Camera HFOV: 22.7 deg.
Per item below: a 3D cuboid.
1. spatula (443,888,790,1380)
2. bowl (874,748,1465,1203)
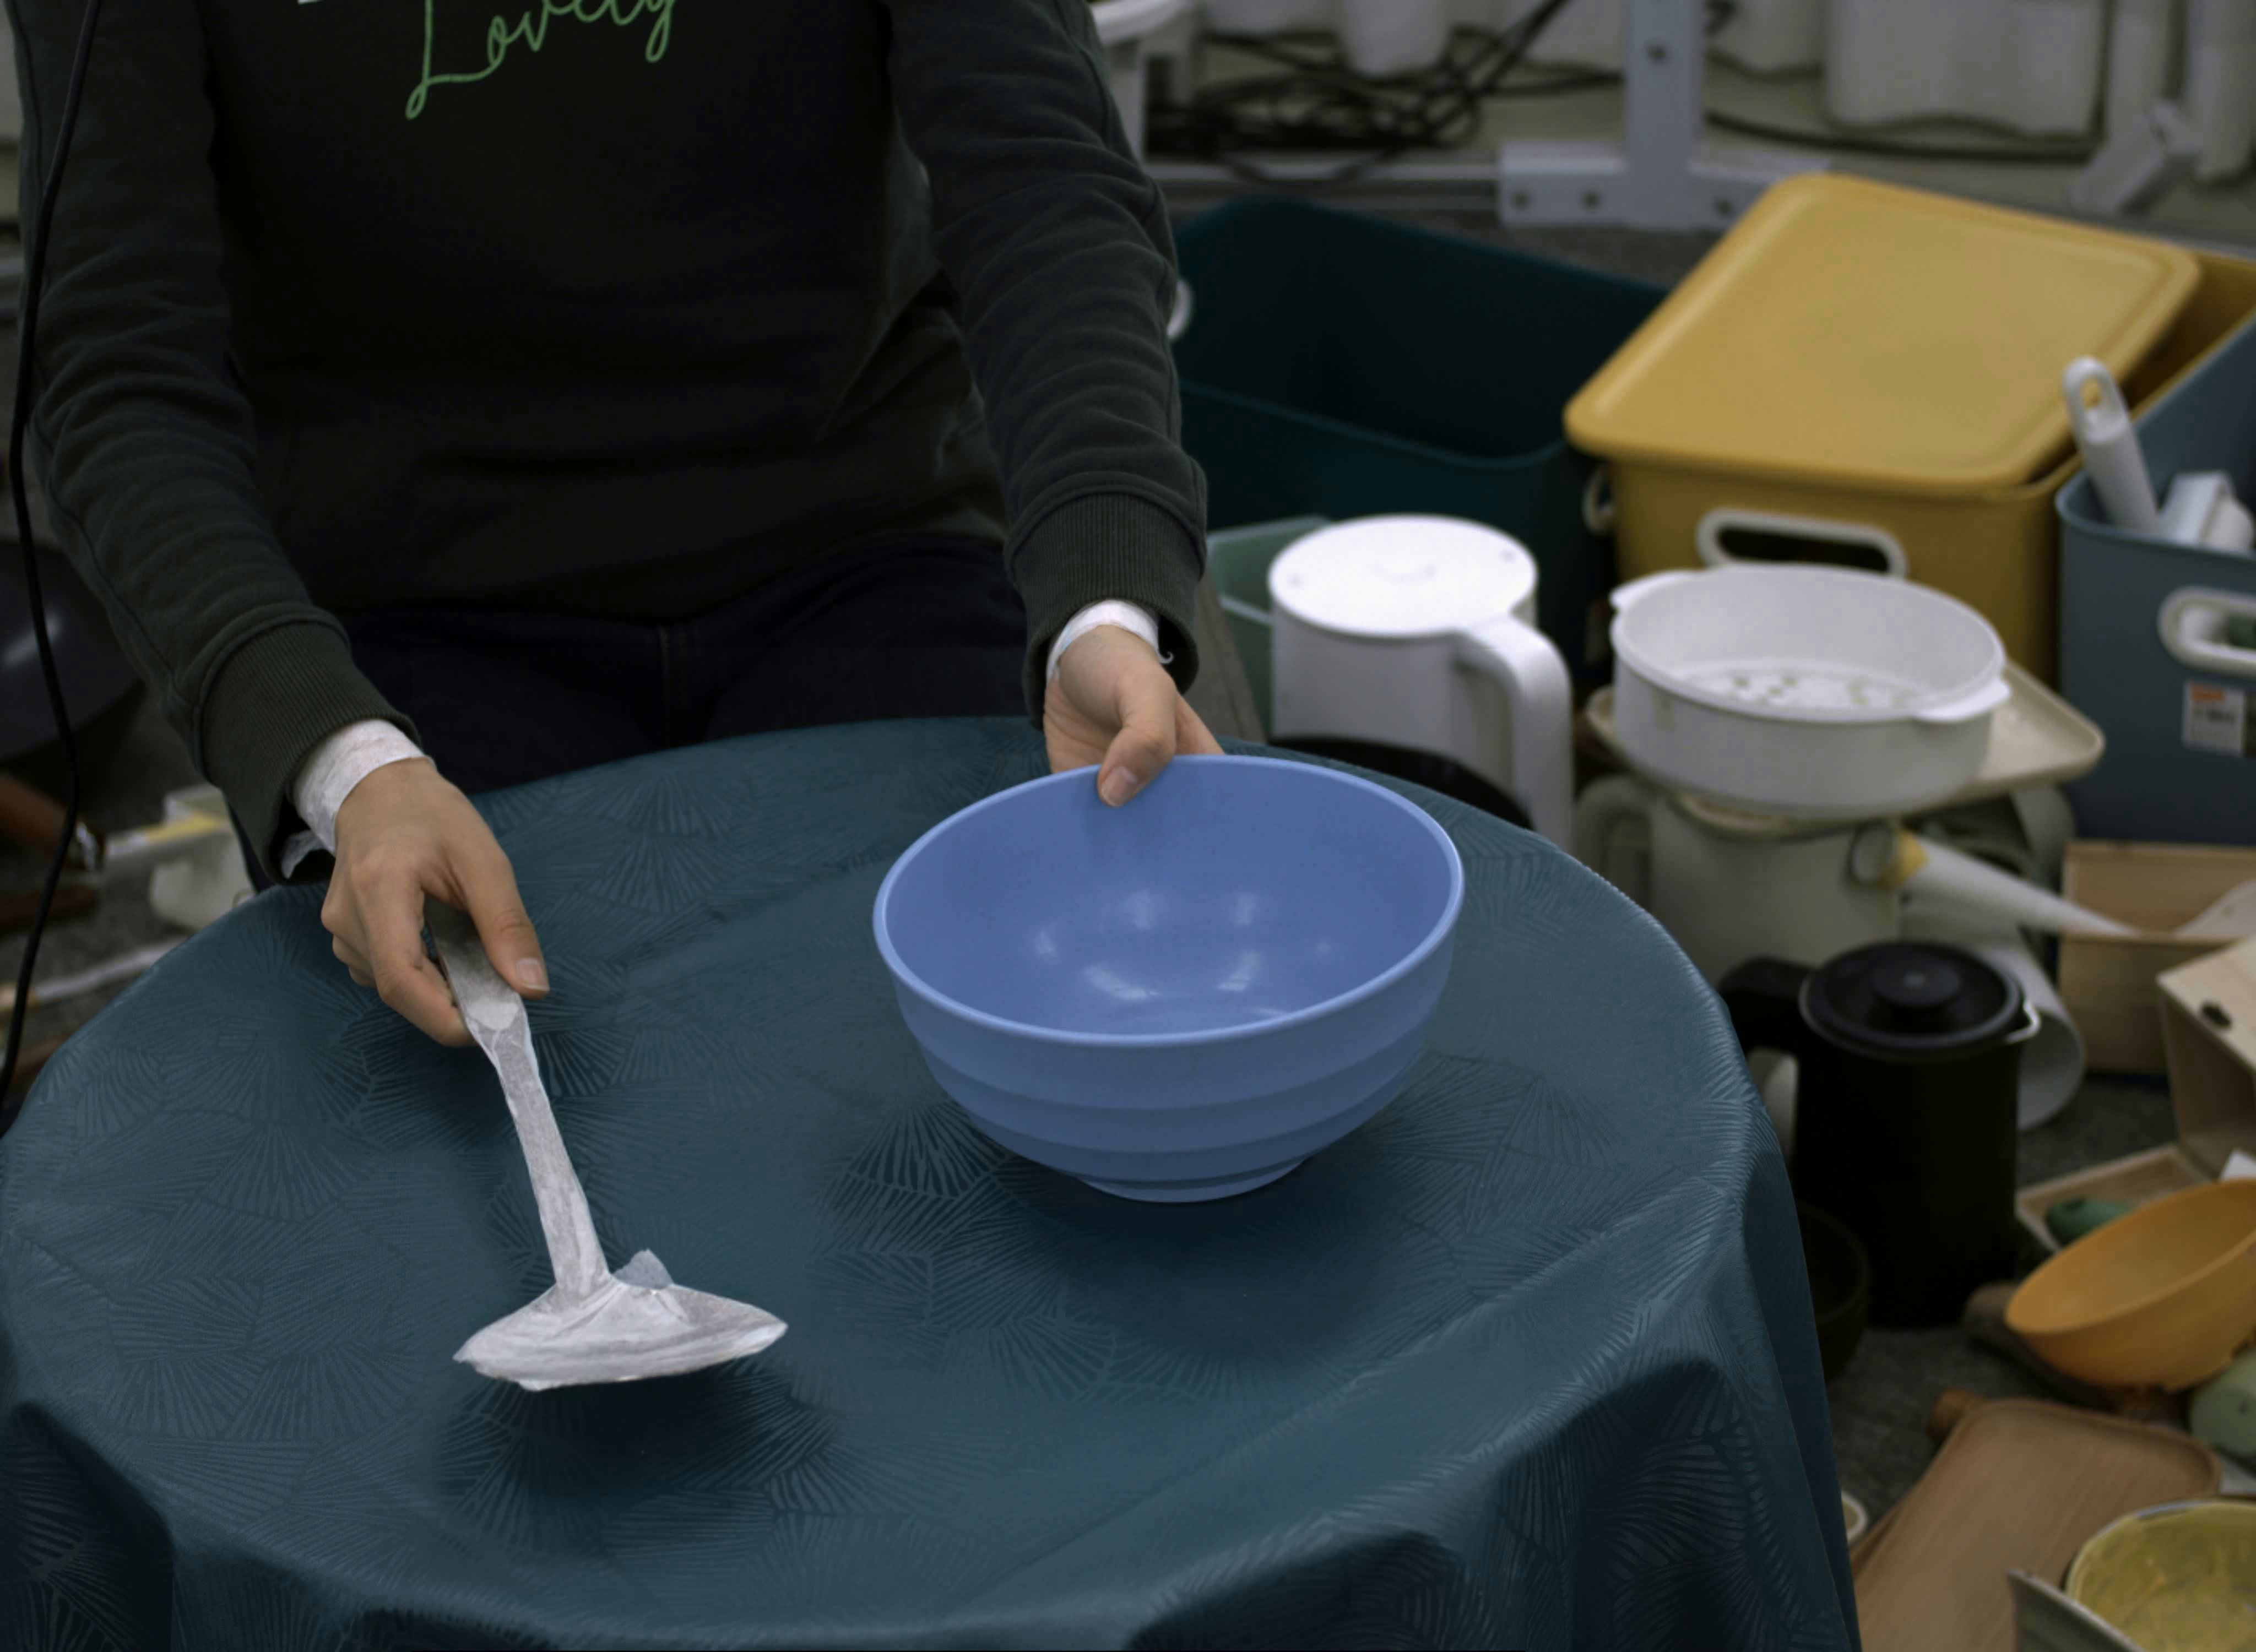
[{"bbox_3d":[-0.192,0.093,1.854,0.099,0.044,0.369,-8,31,-13],"label":"spatula"},{"bbox_3d":[0.017,0.061,1.870,0.195,0.094,0.199,-4,28,3],"label":"bowl"}]
